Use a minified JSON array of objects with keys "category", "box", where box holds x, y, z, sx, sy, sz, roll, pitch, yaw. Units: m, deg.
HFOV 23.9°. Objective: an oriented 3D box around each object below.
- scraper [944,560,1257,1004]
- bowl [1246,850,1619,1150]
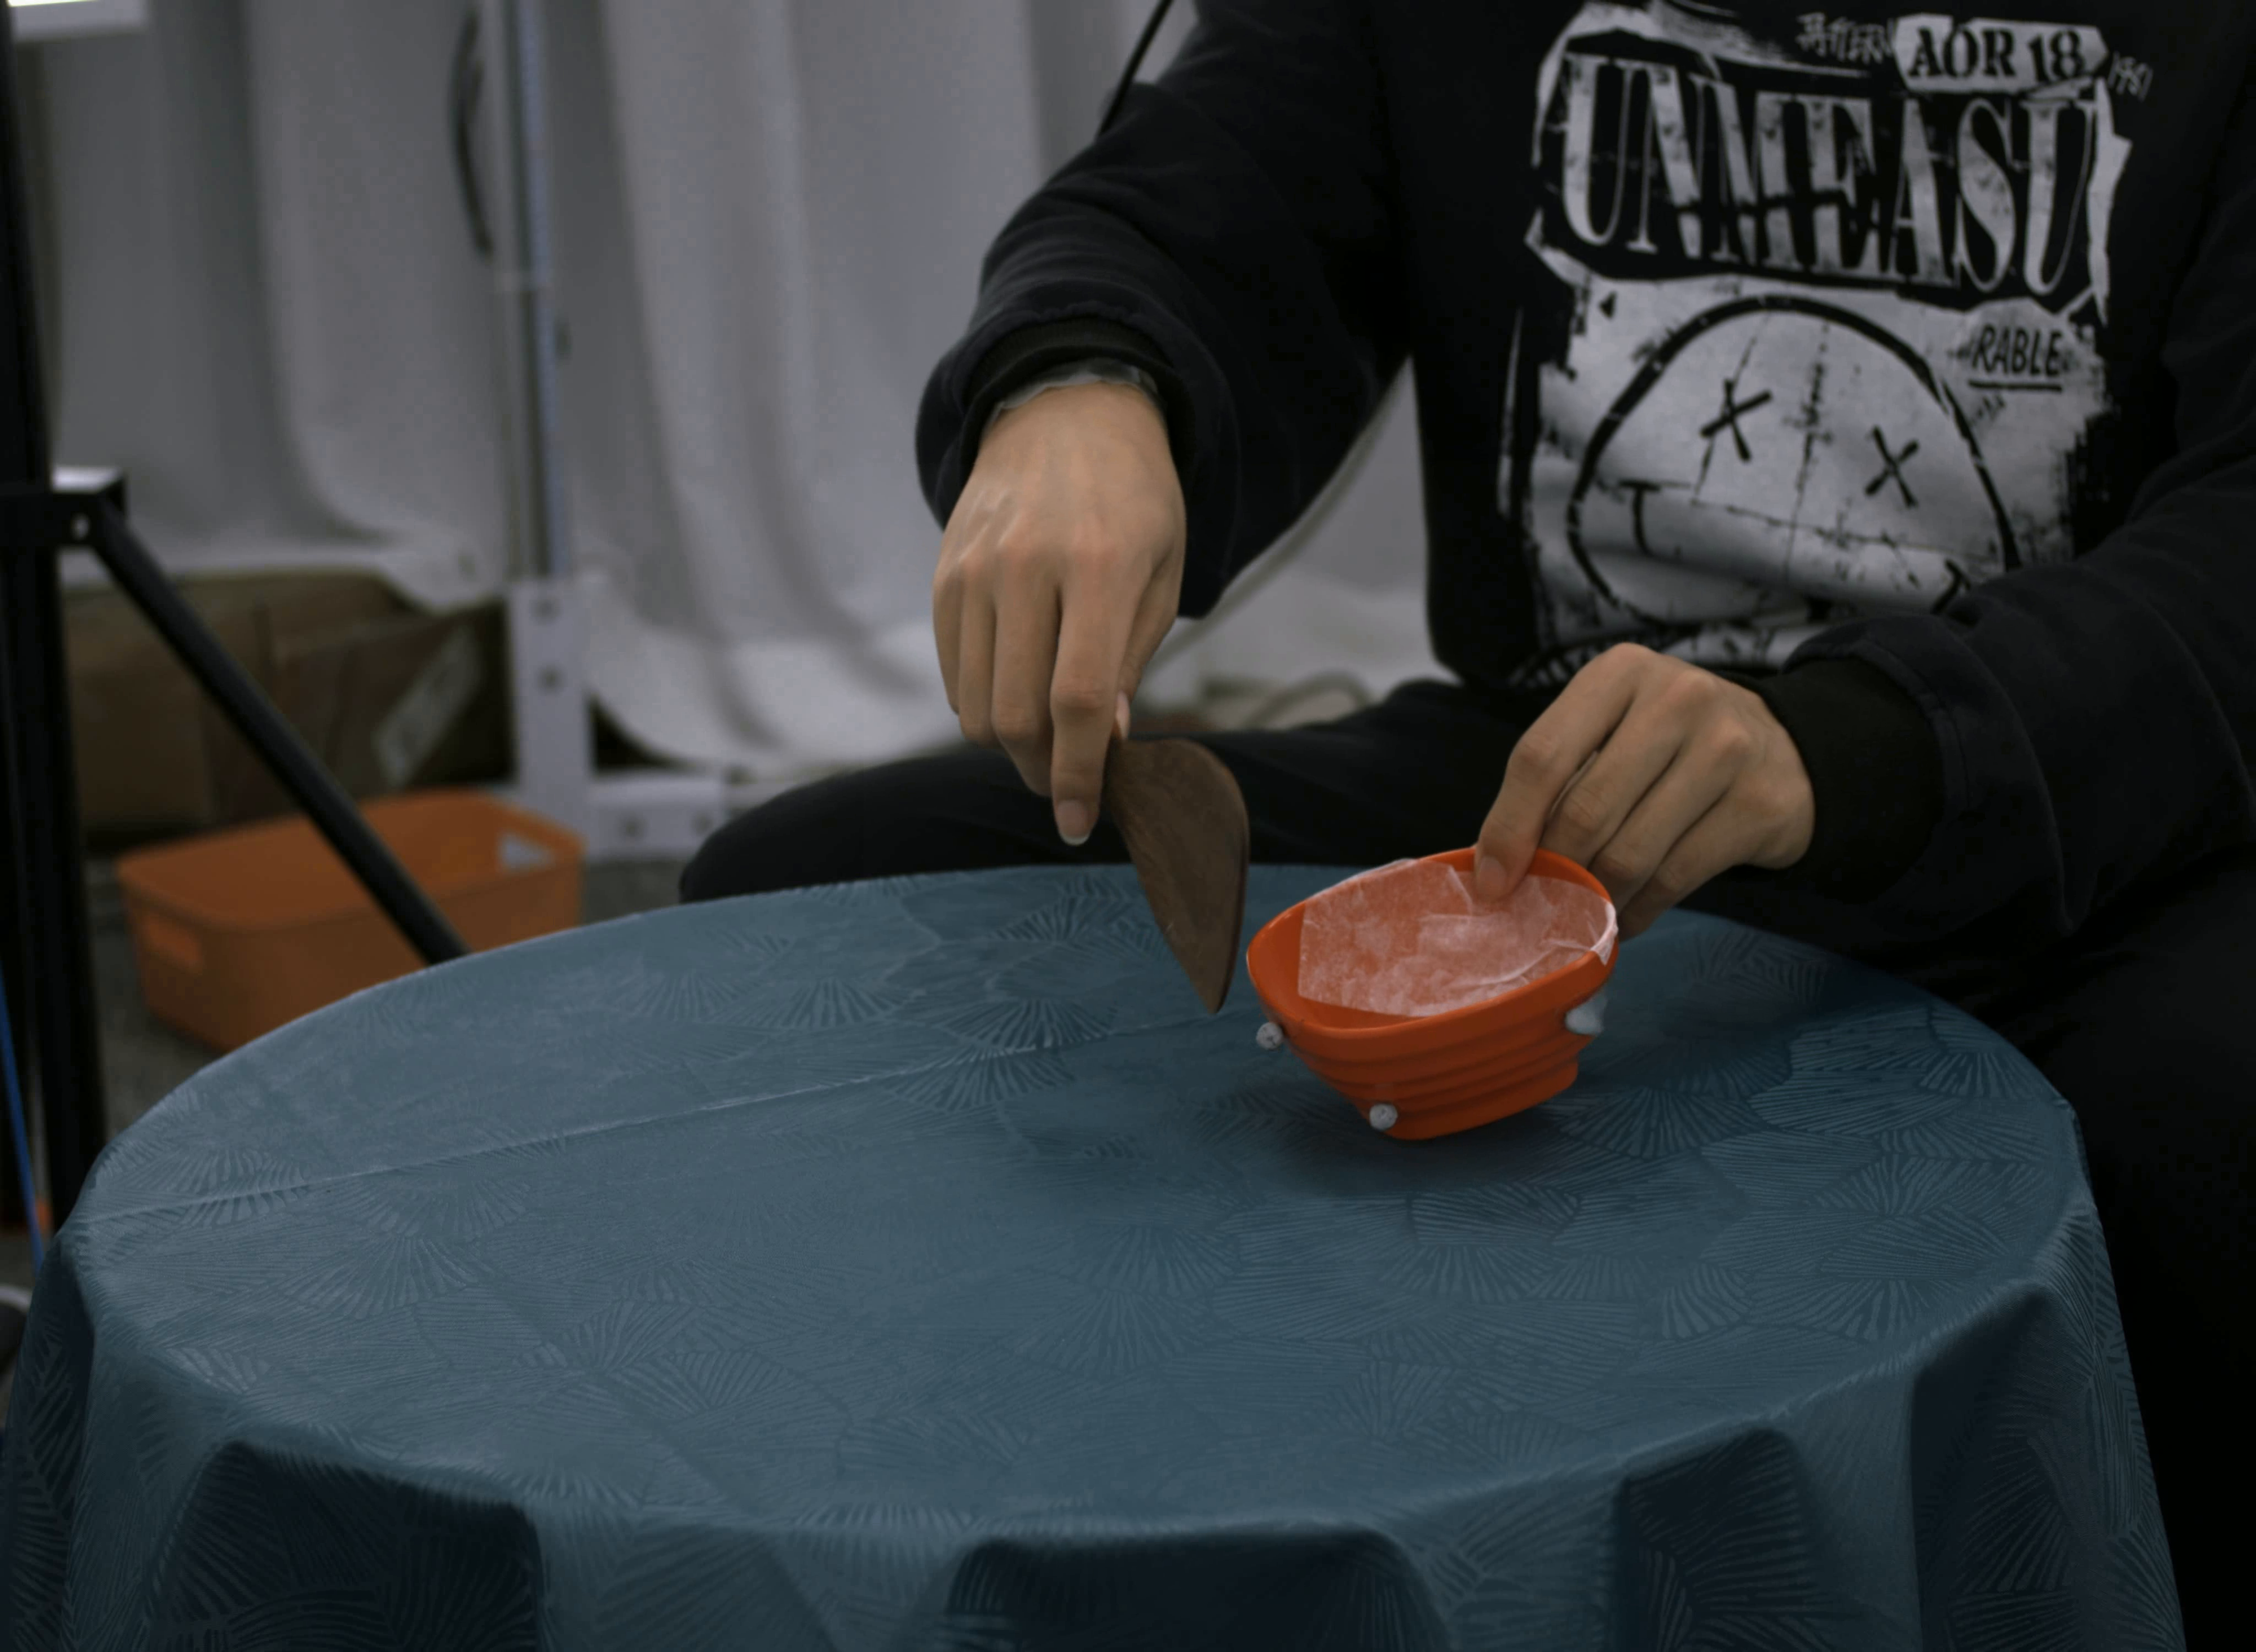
[{"category":"scraper","box":[-0.010,-0.026,1.632,0.010,0.076,0.216,-8,32,-26]},{"category":"bowl","box":[0.097,0.057,1.604,0.119,0.051,0.120,-15,23,5]}]
